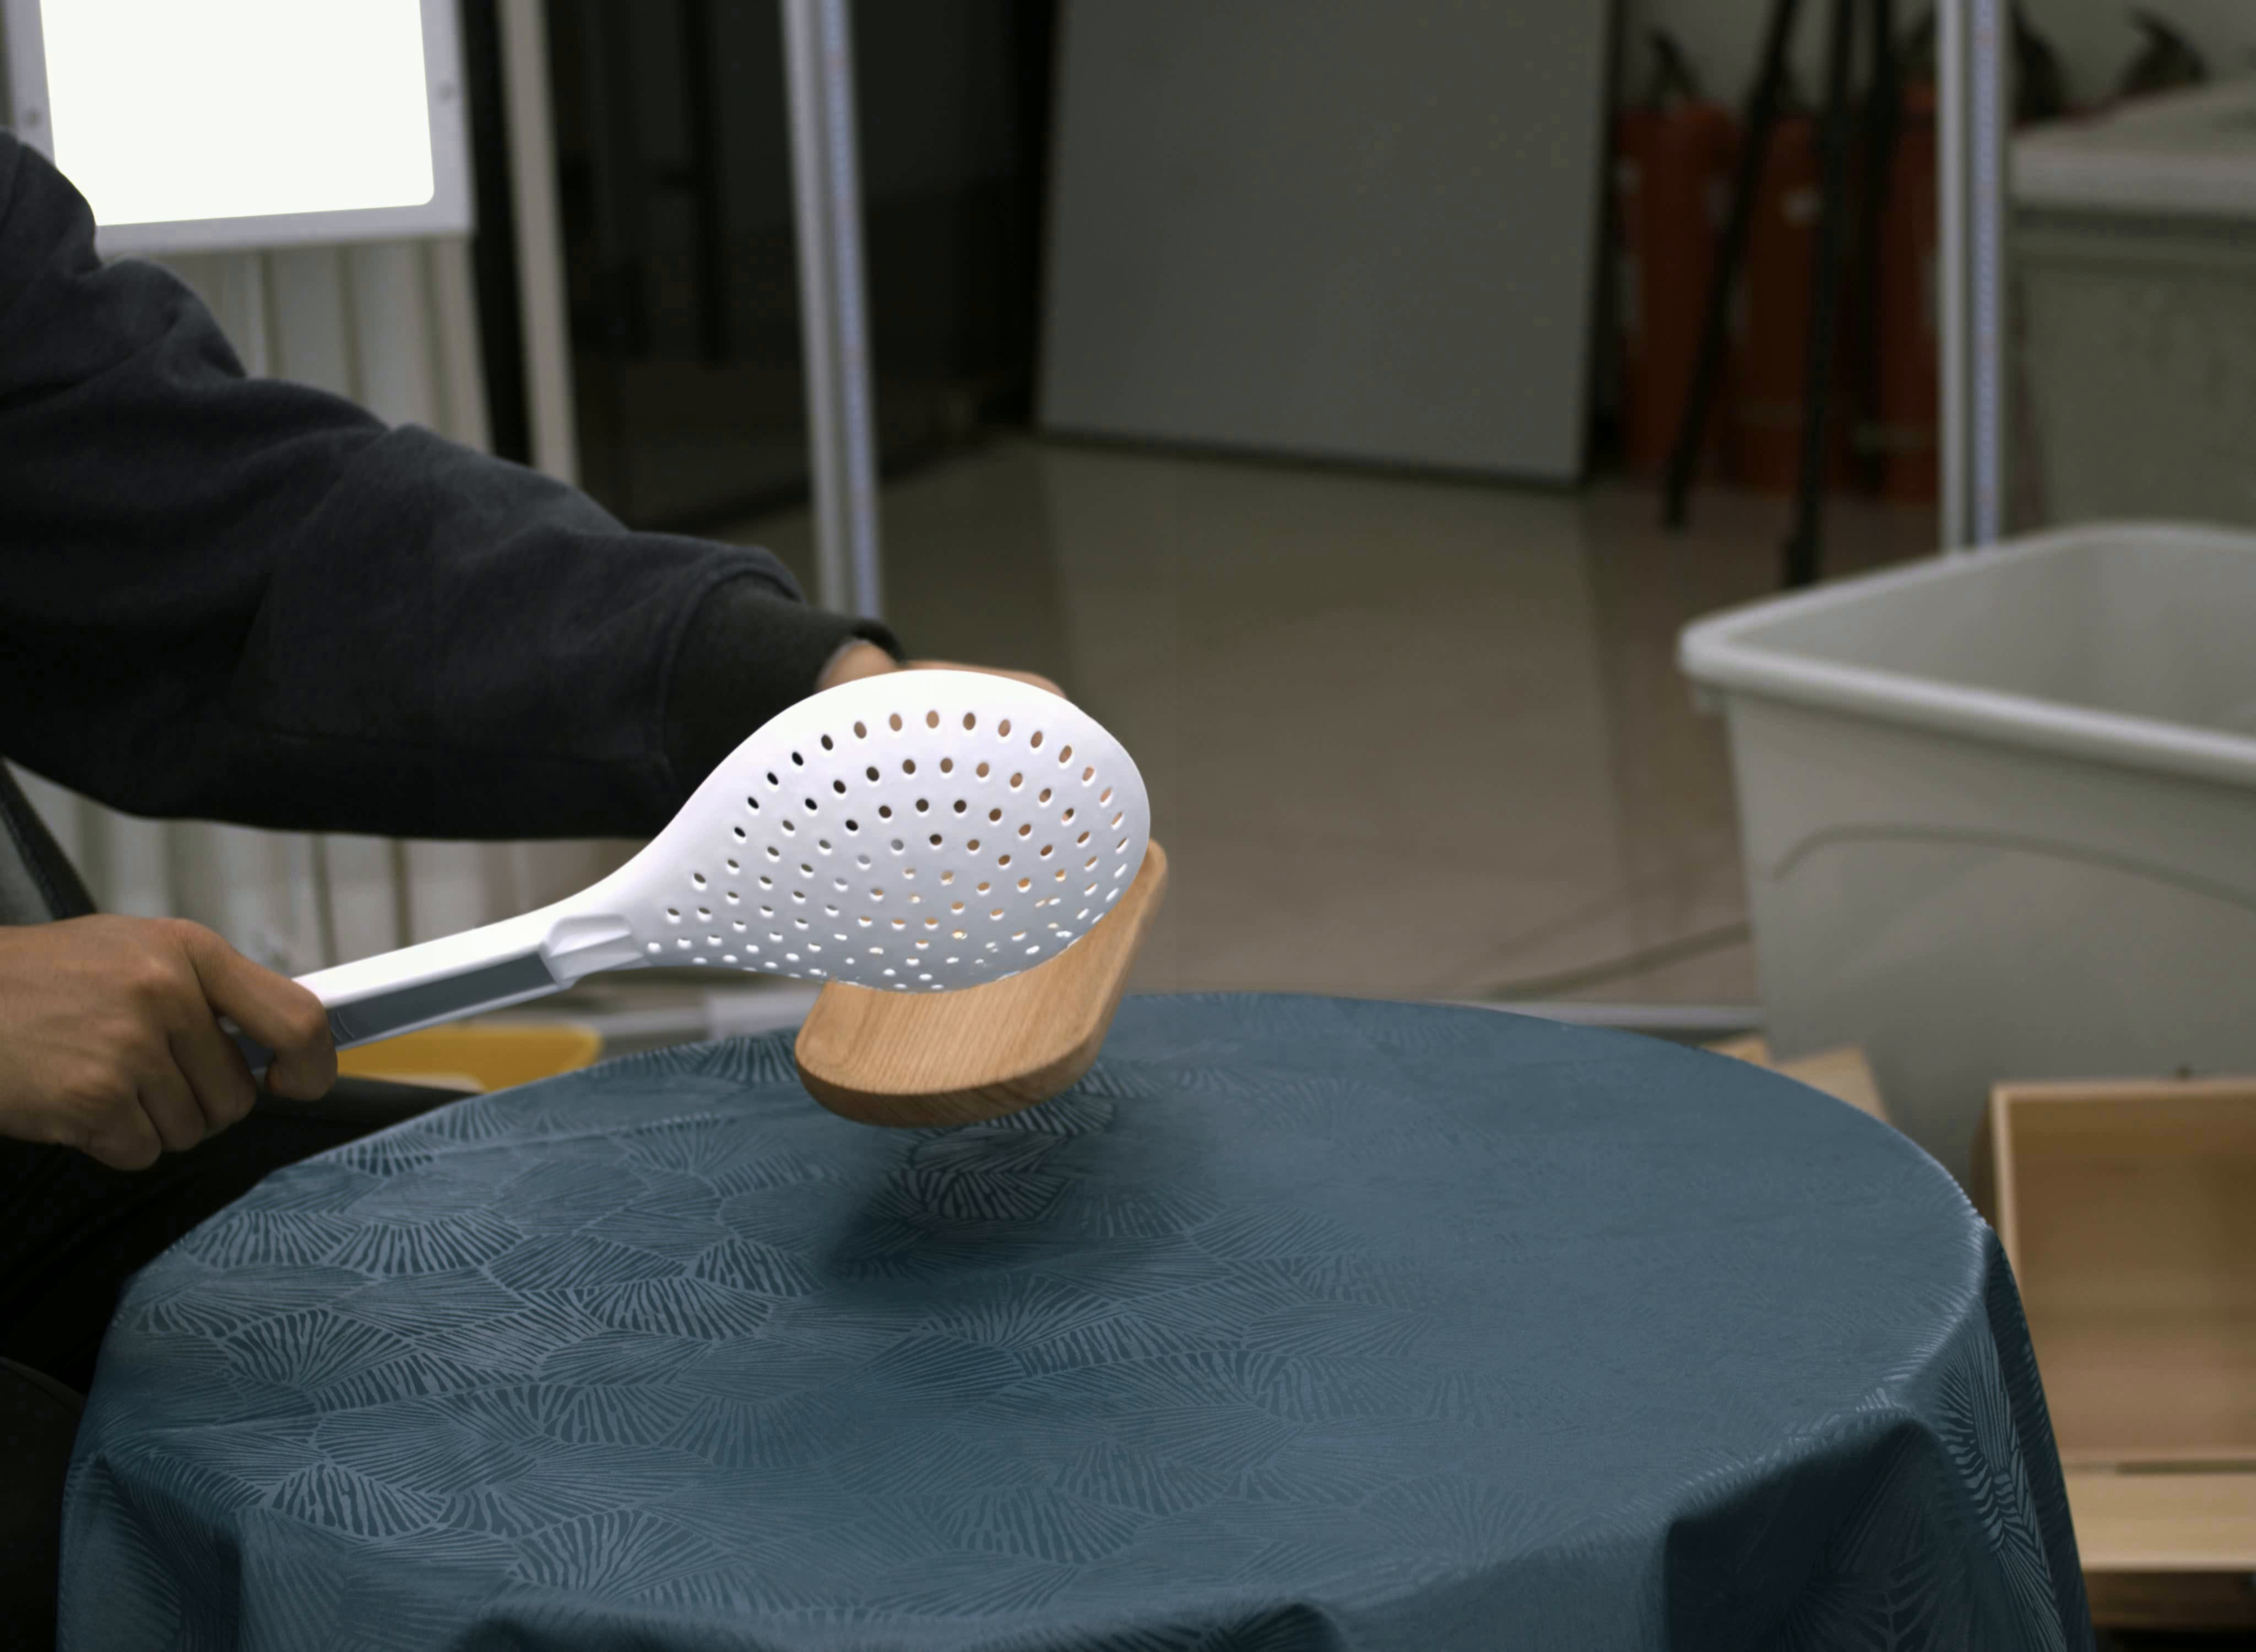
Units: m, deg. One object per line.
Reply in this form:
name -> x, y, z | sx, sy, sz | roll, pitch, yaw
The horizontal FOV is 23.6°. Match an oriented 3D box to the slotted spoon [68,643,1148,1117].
slotted spoon -> -0.161, 0.031, 1.644 | 0.348, 0.135, 0.046 | -13, 43, 16

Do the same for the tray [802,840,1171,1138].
tray -> -0.044, 0.051, 1.790 | 0.101, 0.020, 0.230 | -4, 21, 11
